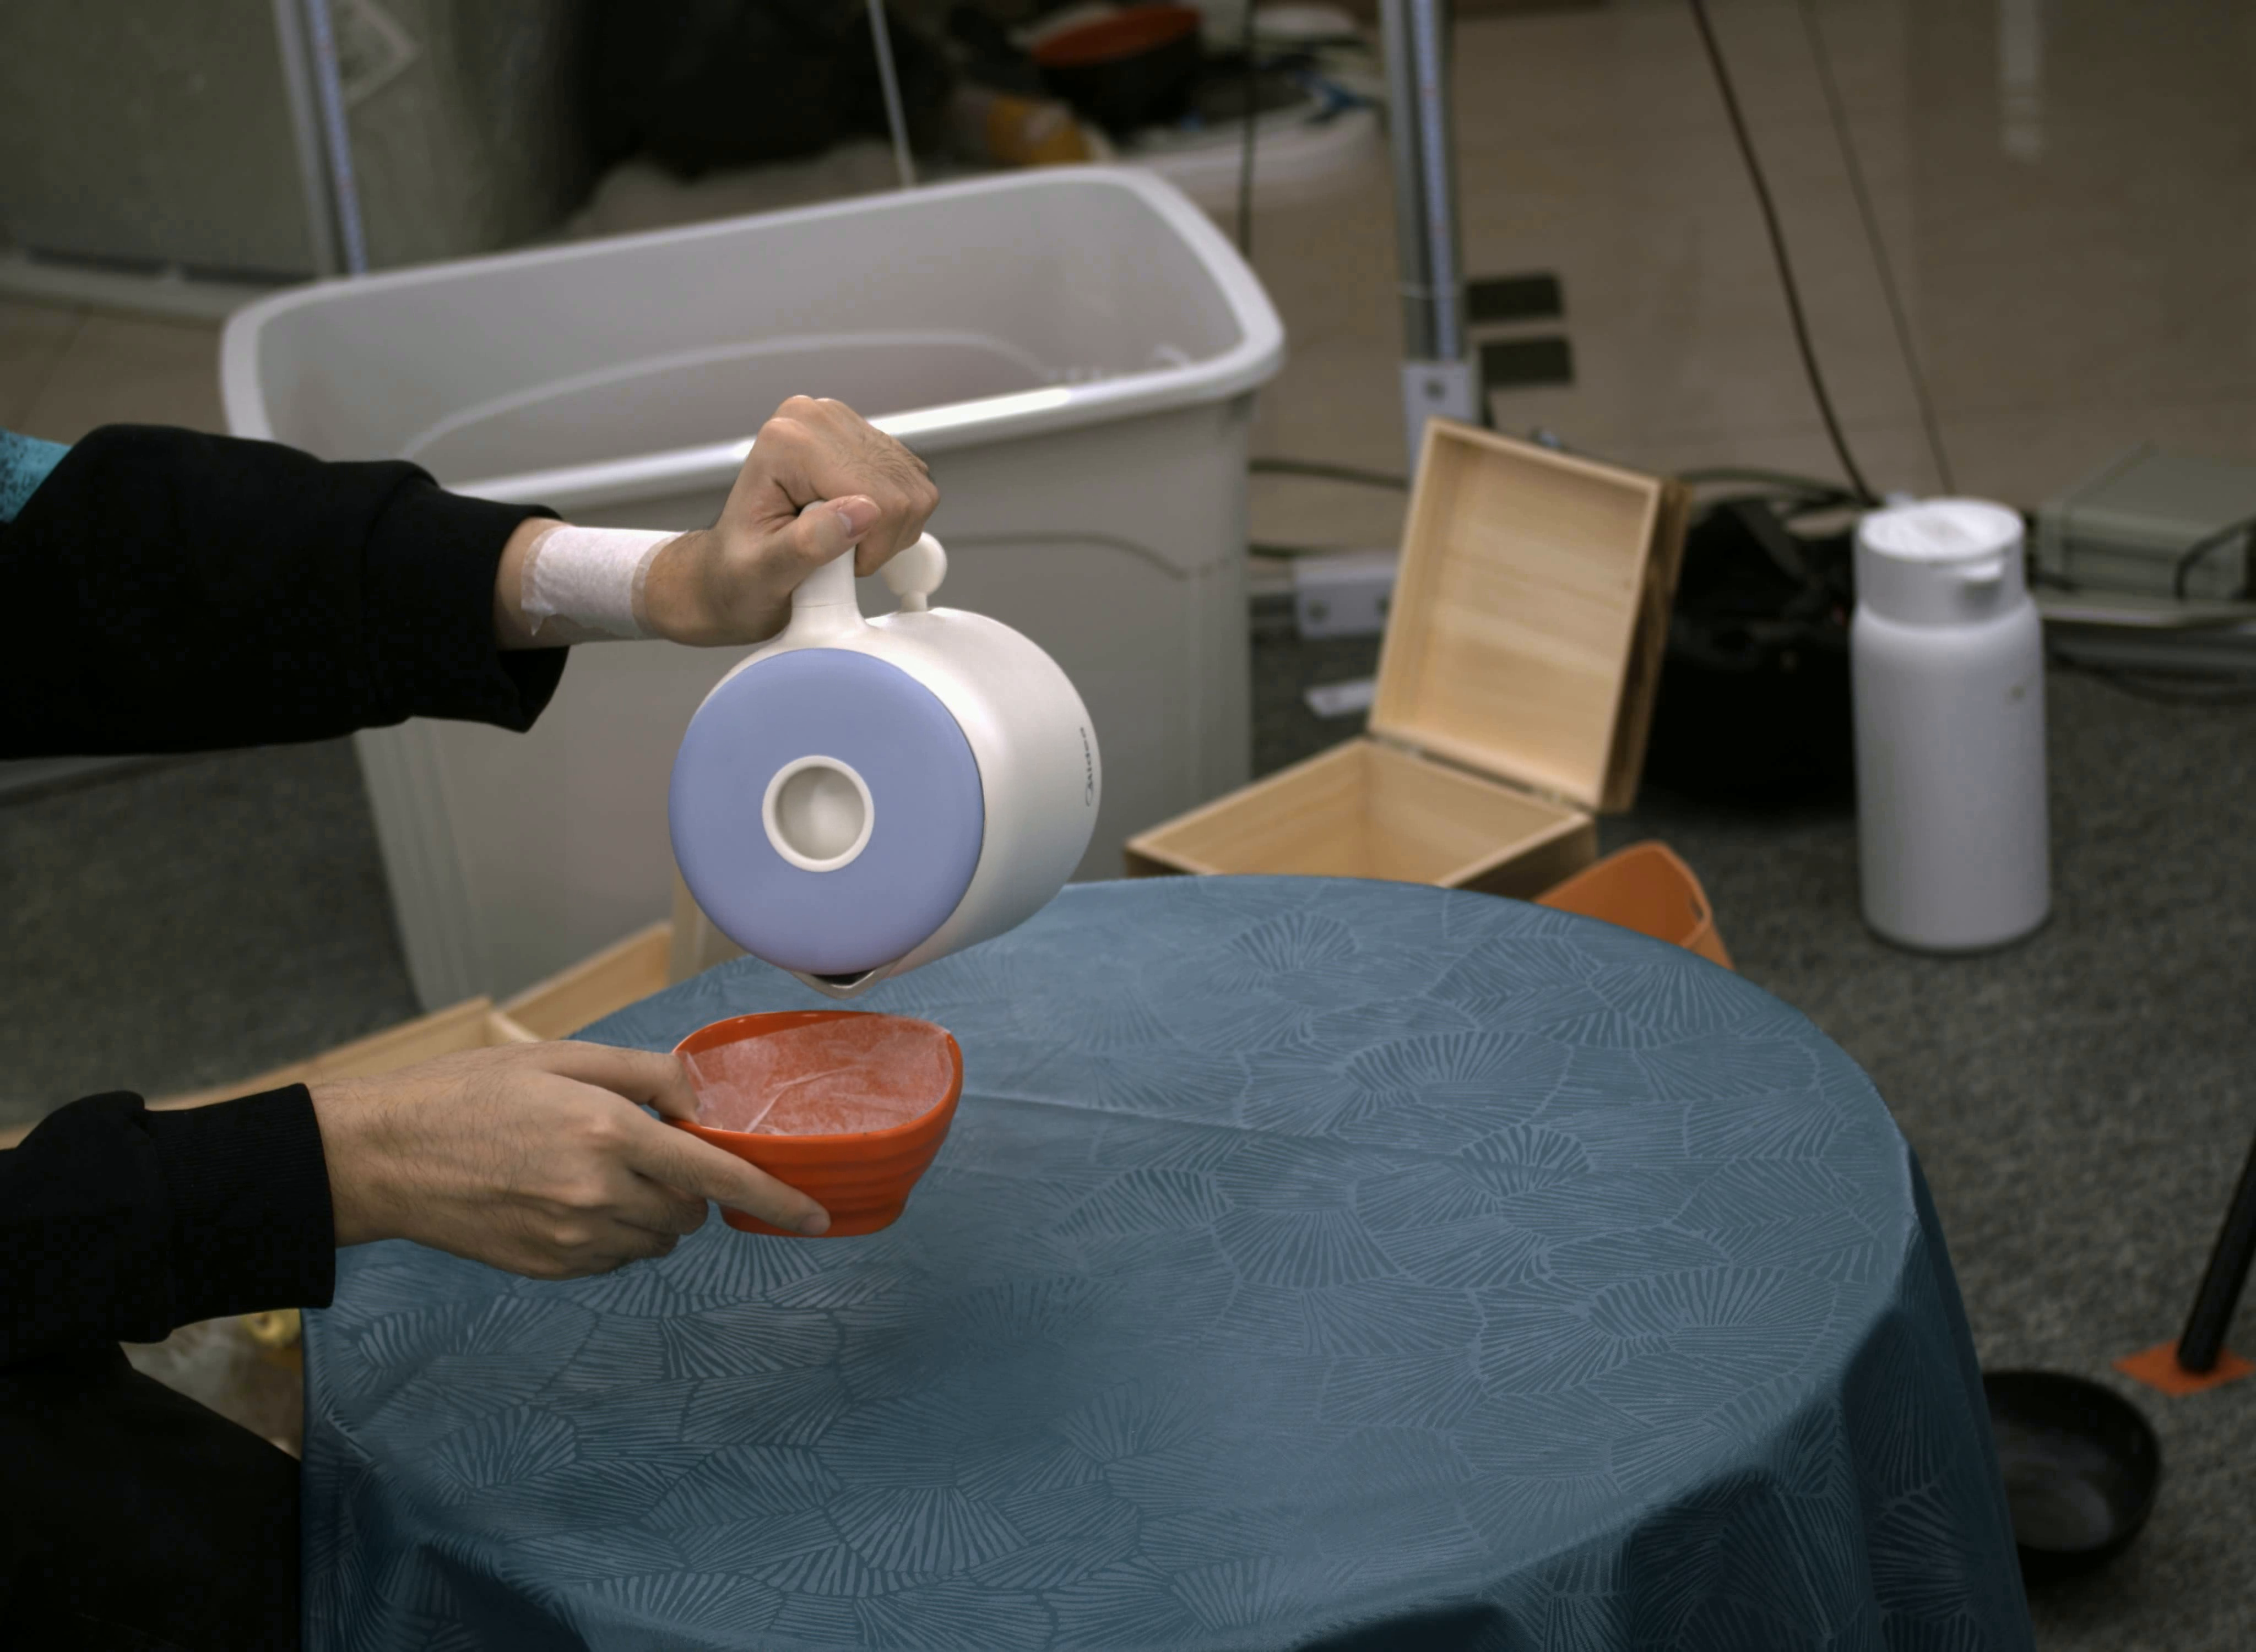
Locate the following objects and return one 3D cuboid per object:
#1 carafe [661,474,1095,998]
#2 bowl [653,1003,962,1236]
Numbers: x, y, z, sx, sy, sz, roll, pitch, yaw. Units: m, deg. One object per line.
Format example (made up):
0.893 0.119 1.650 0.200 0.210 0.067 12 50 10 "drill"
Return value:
-0.095 -0.037 2.108 0.132 0.192 0.182 -7 2 13 "carafe"
-0.115 0.109 2.038 0.119 0.052 0.117 0 25 0 "bowl"
